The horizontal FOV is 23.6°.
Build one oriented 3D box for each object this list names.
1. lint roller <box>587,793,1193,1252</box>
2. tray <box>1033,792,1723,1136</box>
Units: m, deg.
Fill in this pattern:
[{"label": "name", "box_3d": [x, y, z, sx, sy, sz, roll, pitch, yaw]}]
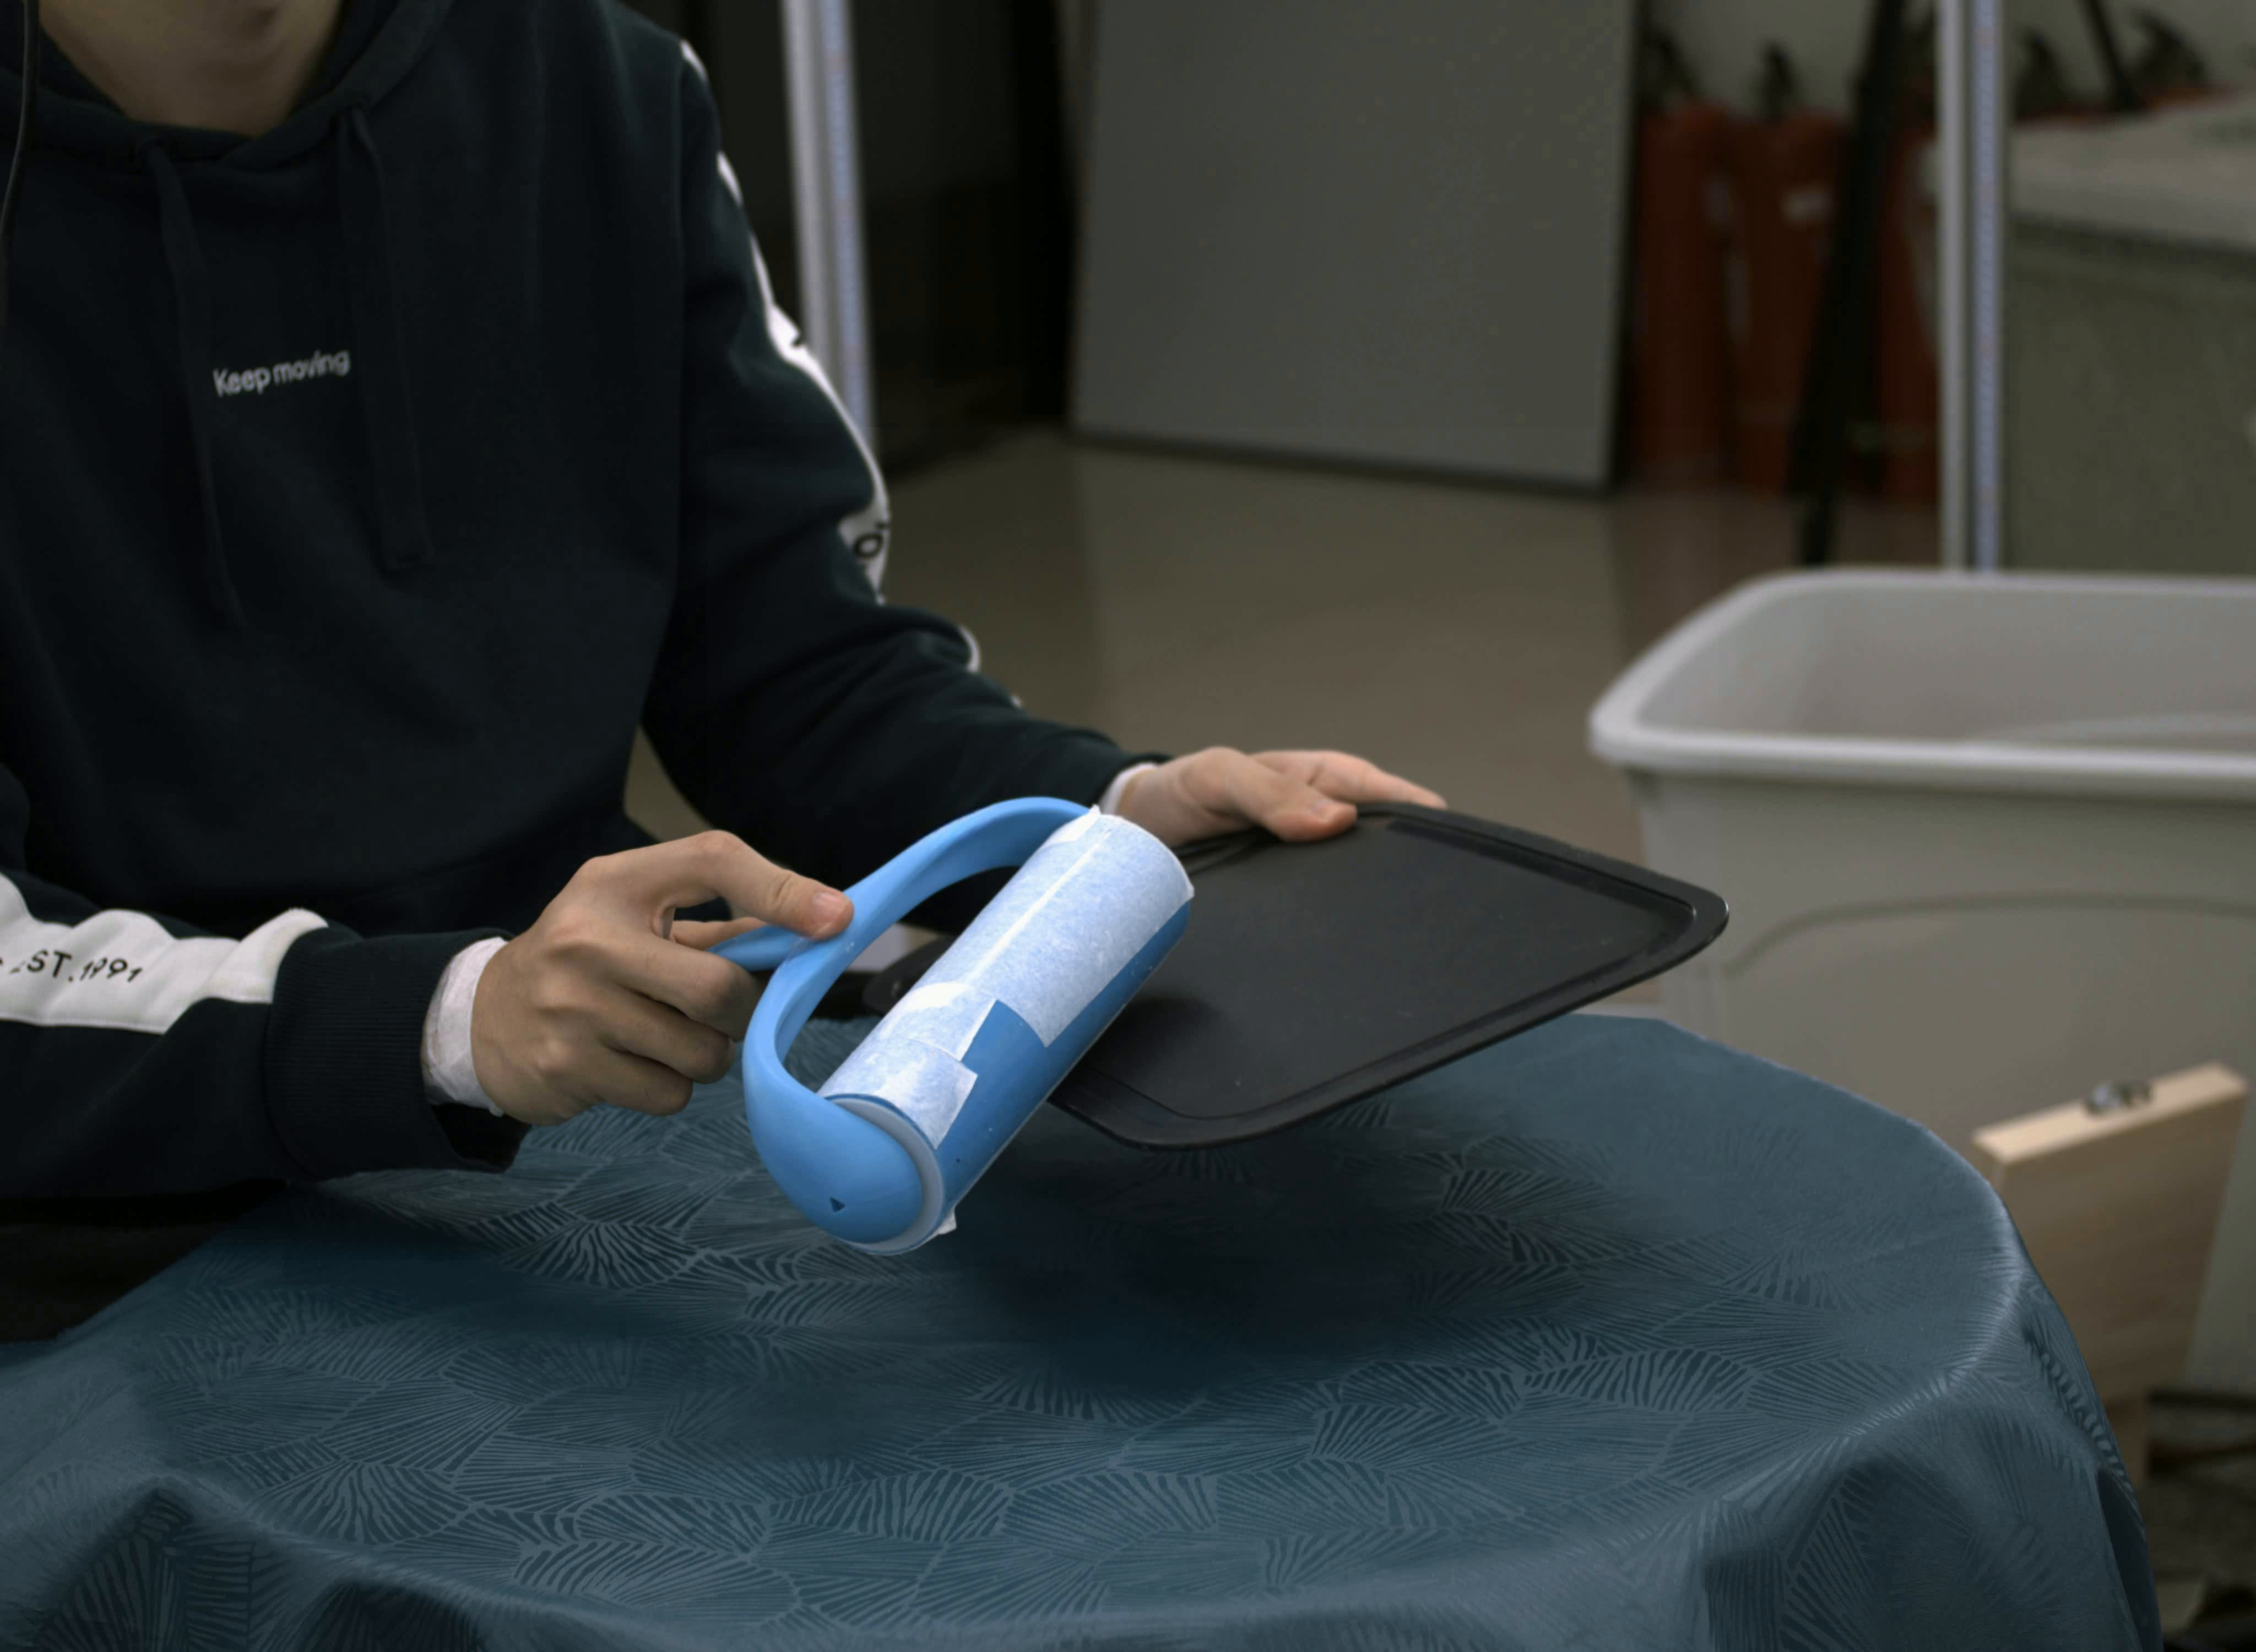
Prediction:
[{"label": "lint roller", "box_3d": [-0.093, 0.059, 1.662, 0.180, 0.068, 0.227, -1, 26, 23]}, {"label": "tray", "box_3d": [0.042, 0.038, 1.733, 0.207, 0.010, 0.328, -21, 15, -18]}]
